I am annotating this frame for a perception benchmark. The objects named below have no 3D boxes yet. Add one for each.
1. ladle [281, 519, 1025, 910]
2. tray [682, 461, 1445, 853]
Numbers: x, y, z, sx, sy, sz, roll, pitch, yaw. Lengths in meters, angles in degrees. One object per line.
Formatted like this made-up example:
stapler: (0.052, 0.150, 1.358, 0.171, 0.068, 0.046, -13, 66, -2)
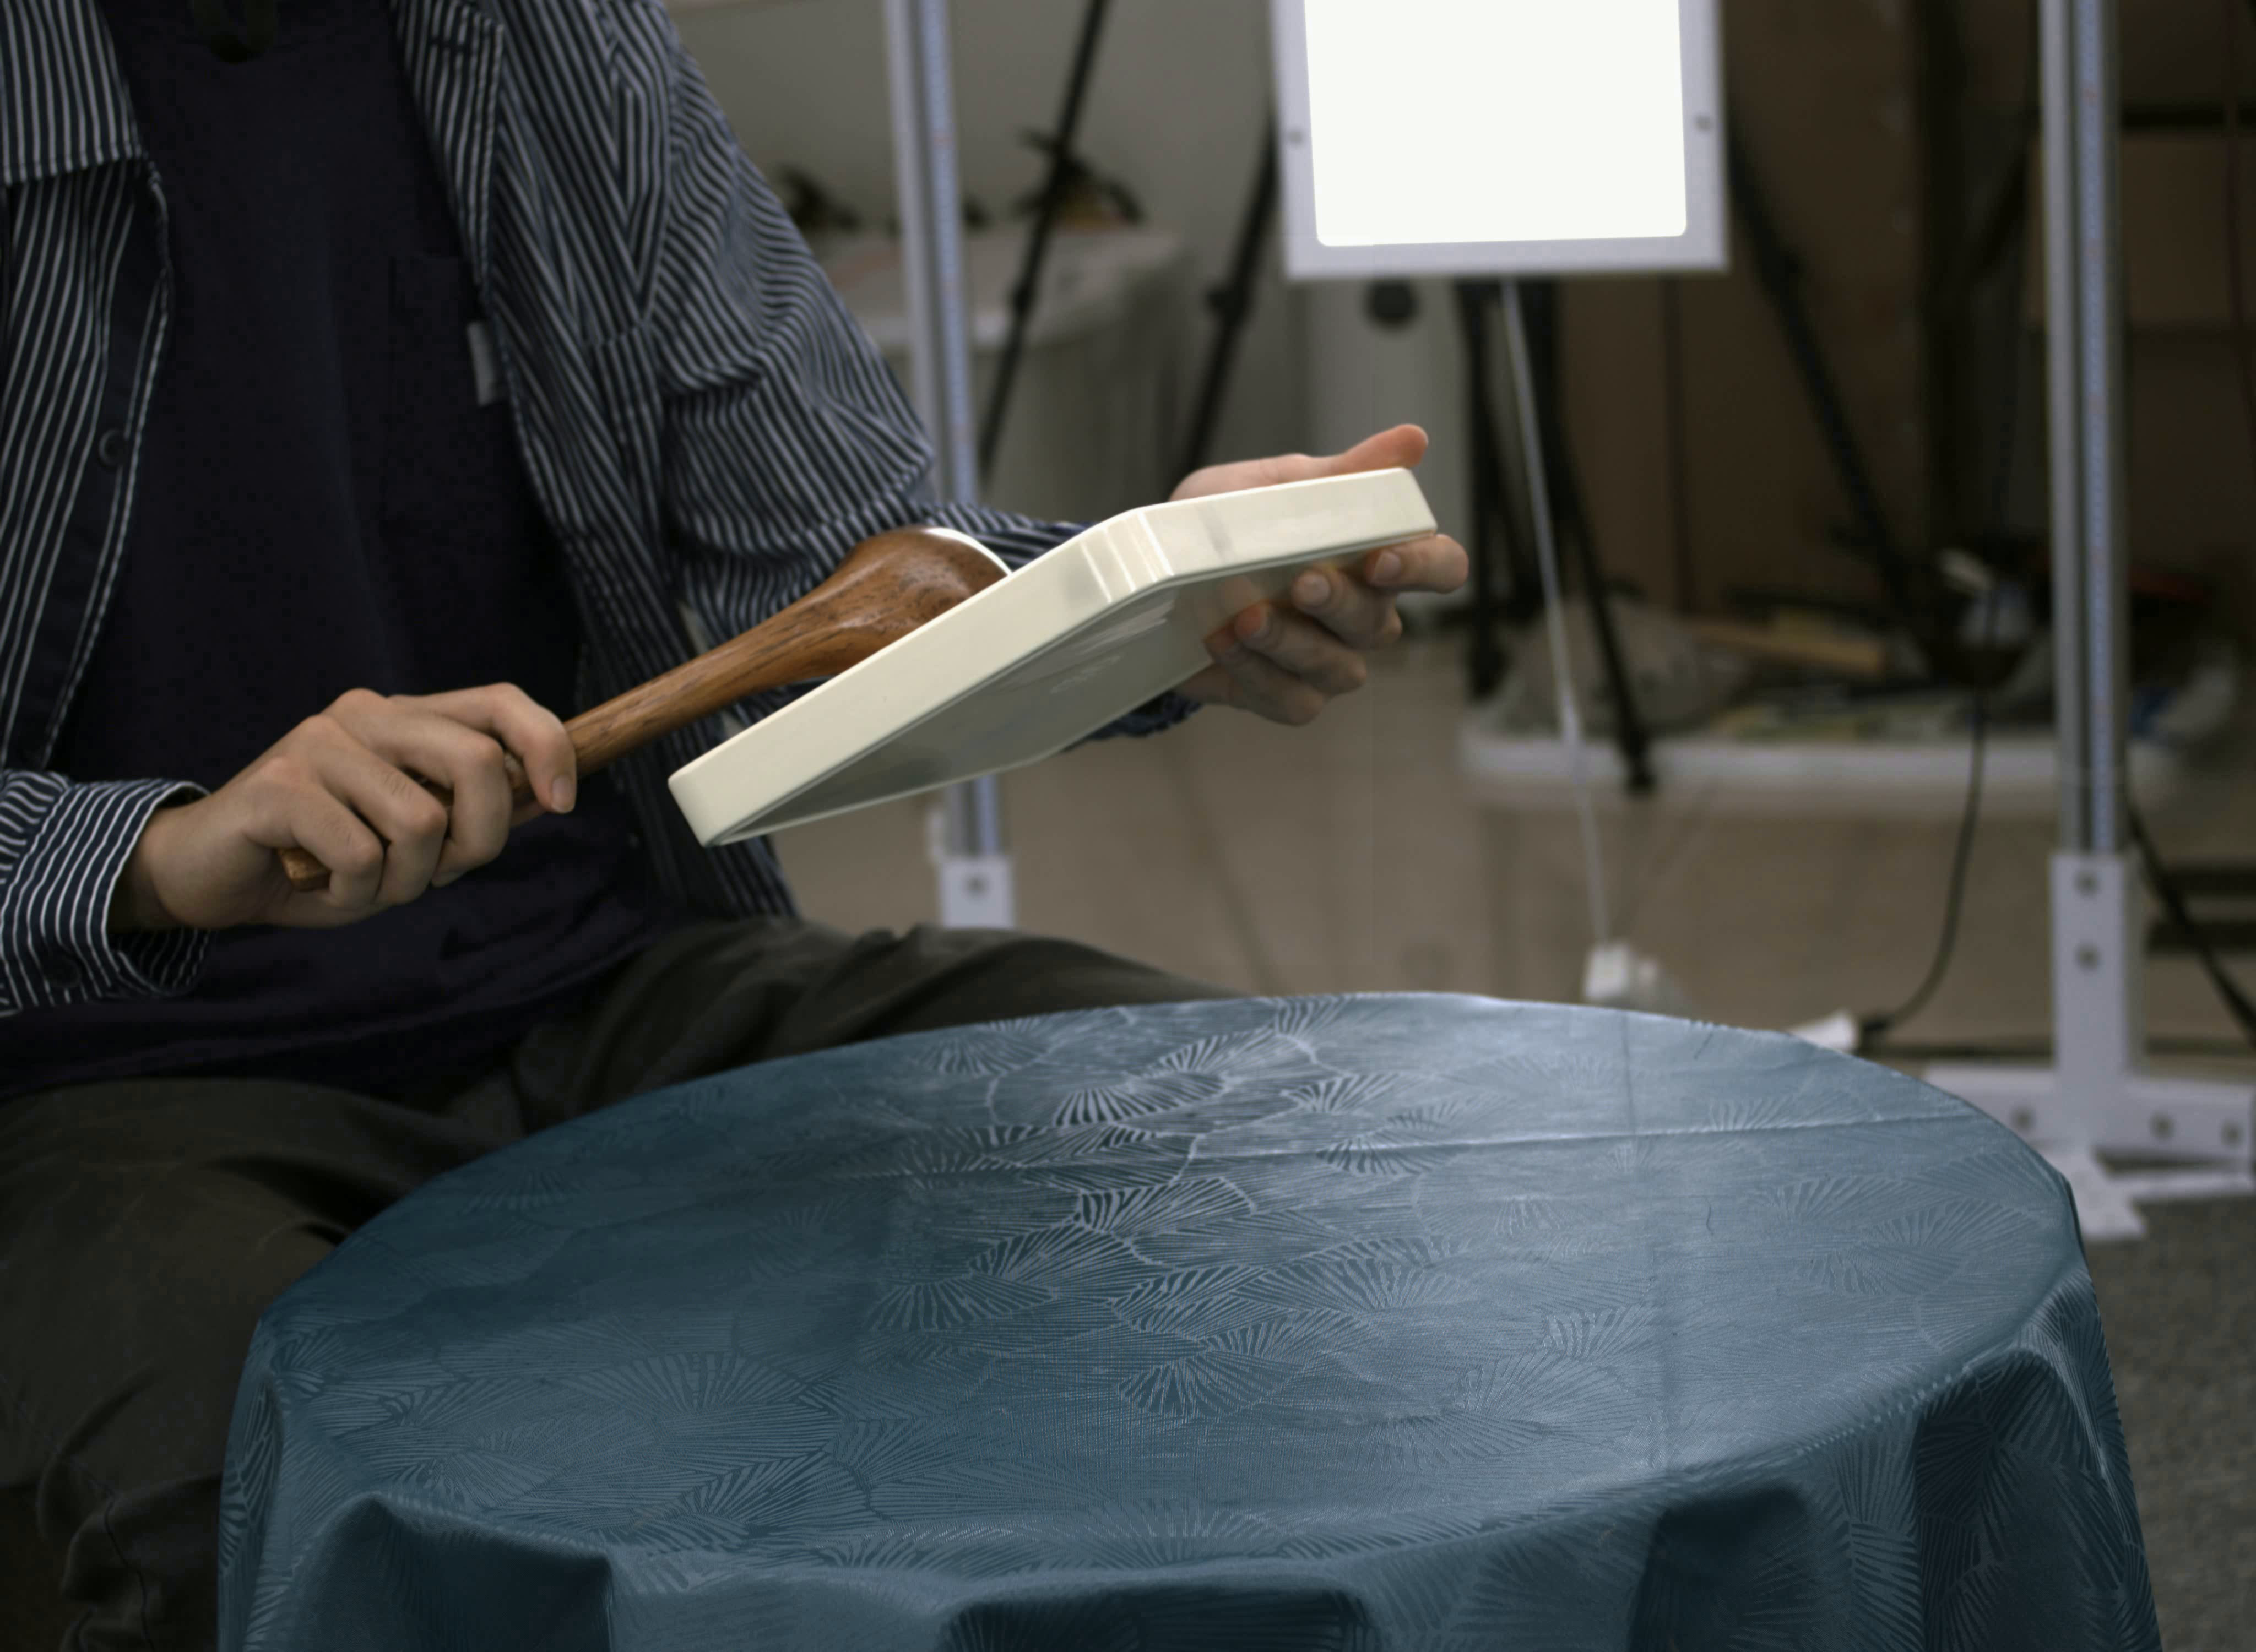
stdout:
ladle: (-0.159, -0.027, 1.902, 0.273, 0.076, 0.082, -27, 56, -3)
tray: (-0.015, -0.060, 1.880, 0.194, 0.027, 0.294, -31, -6, 23)
